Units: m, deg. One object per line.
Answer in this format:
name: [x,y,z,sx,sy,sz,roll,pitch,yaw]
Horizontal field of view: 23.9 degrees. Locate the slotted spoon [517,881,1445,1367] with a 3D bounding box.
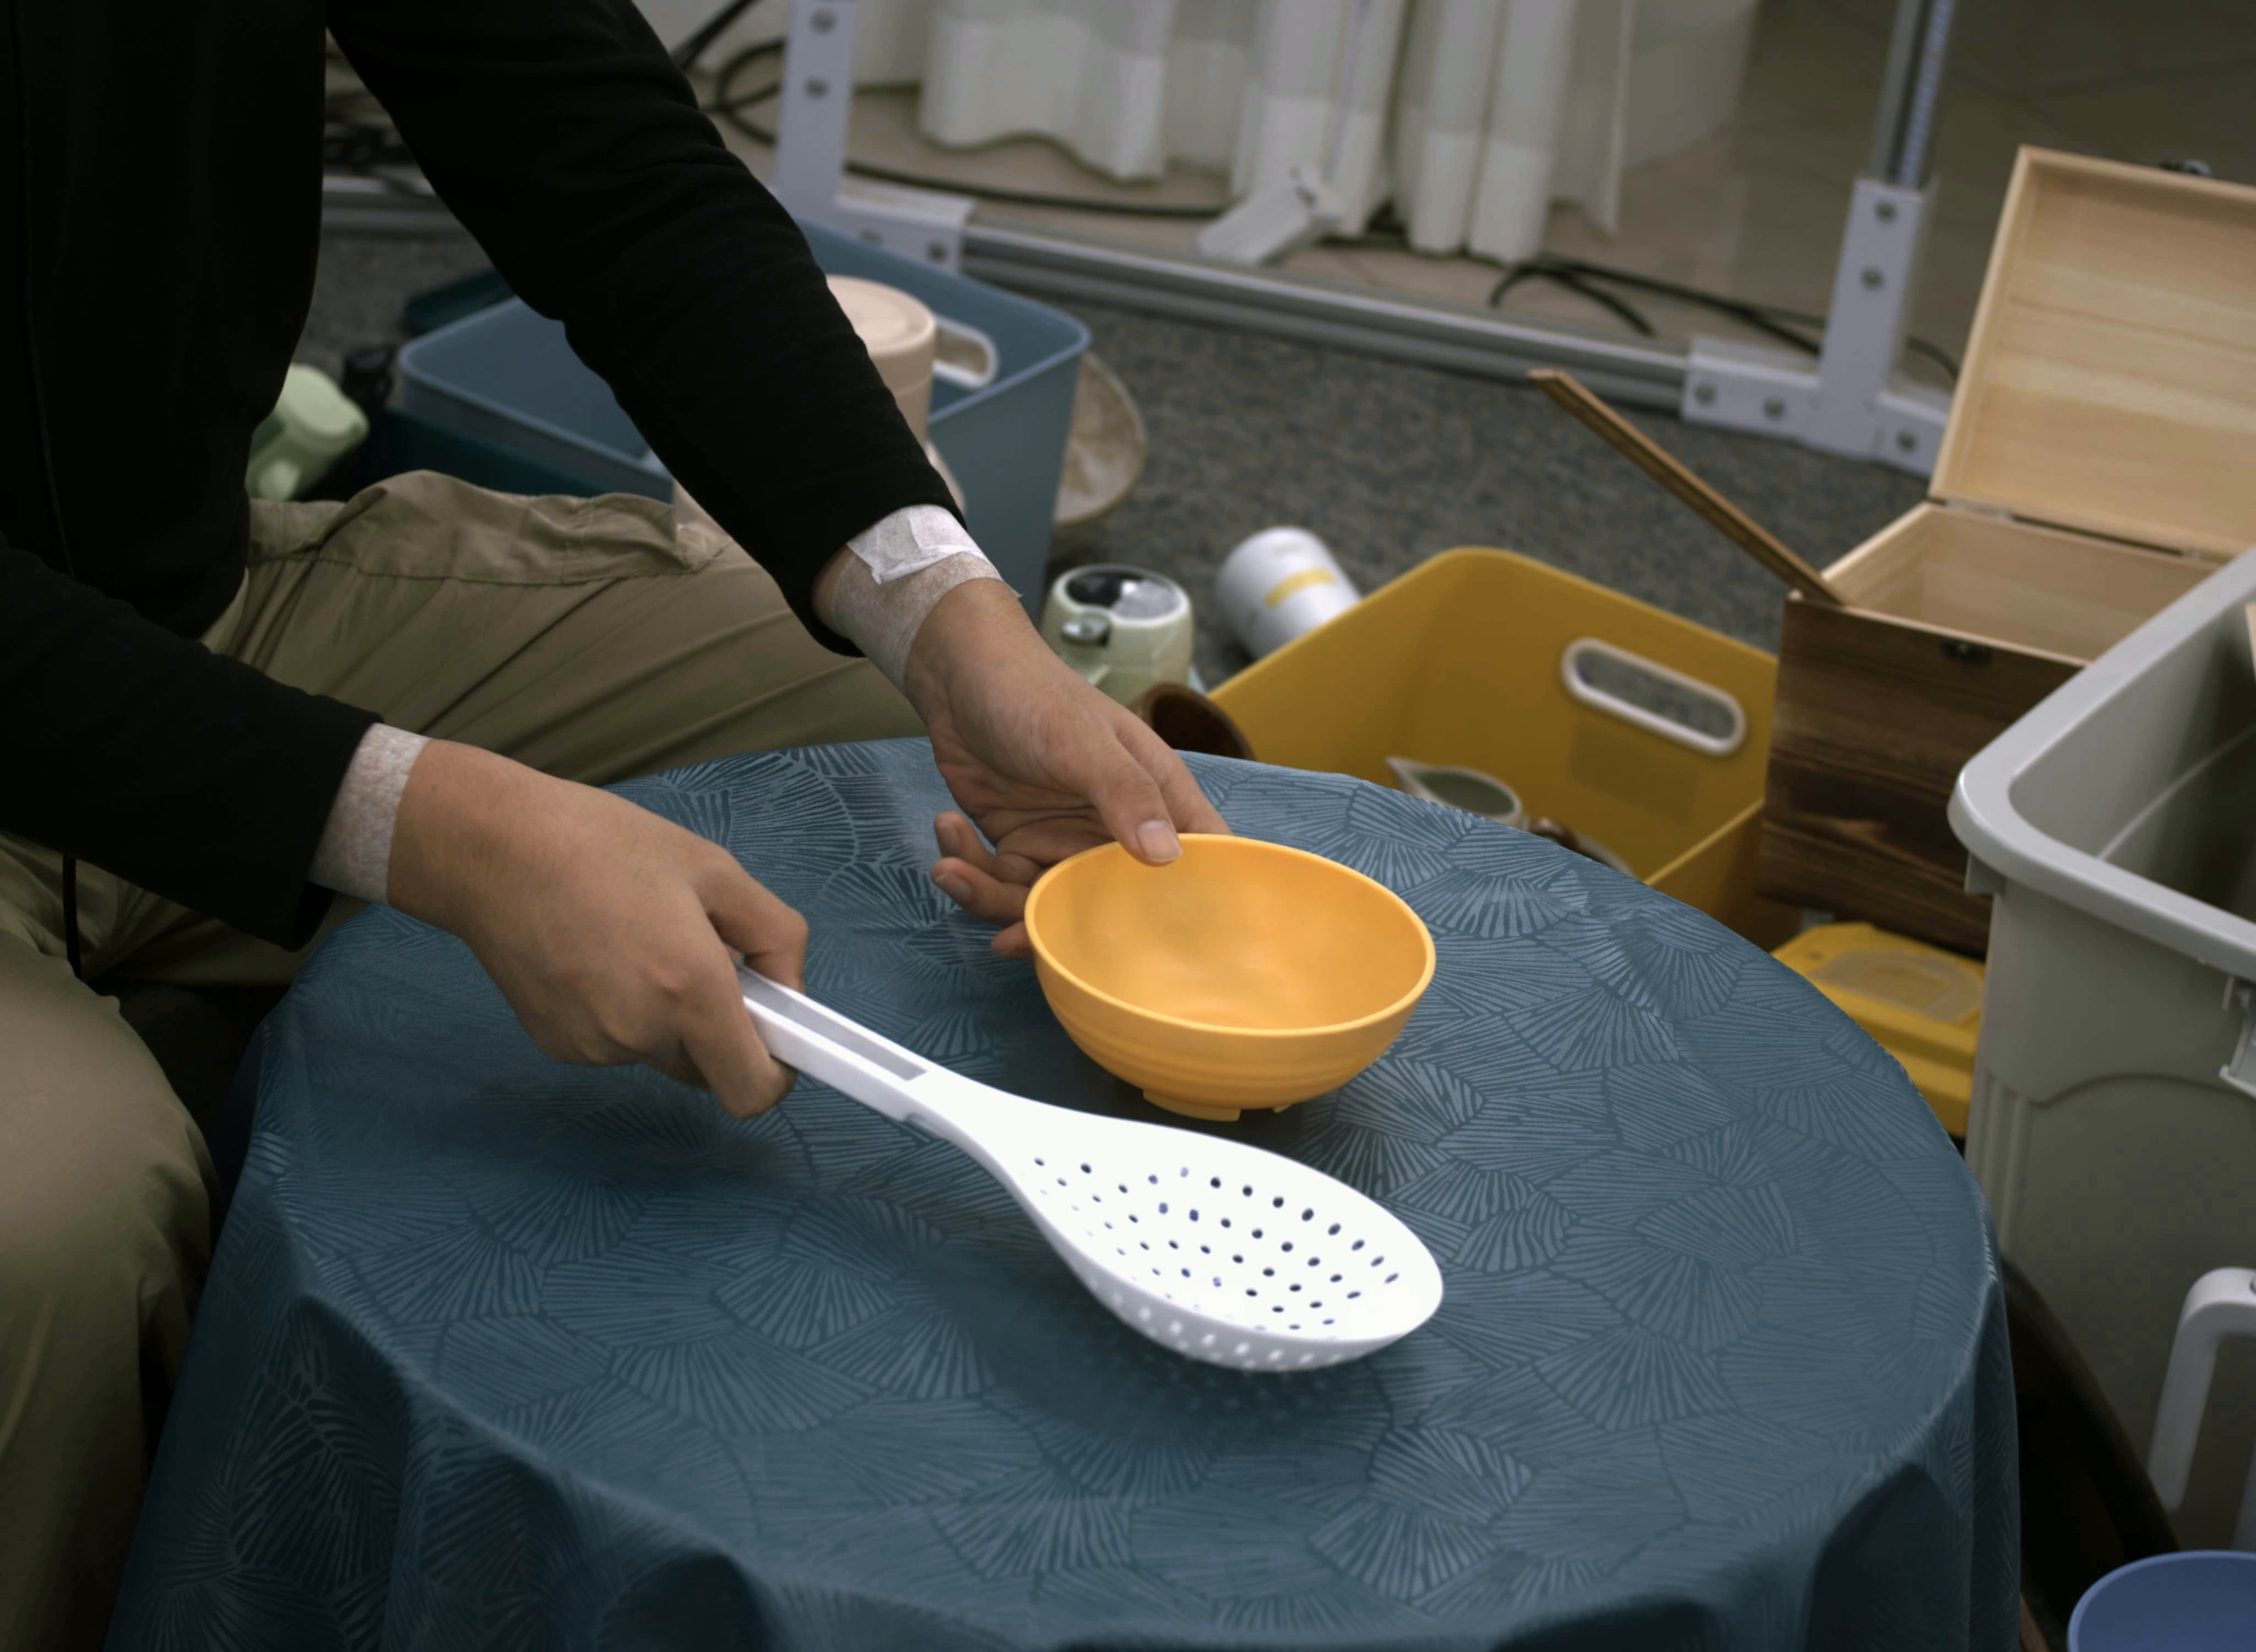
slotted spoon: [-0.056,0.094,1.751,0.351,0.045,0.135,29,22,20]

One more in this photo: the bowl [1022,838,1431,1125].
bowl: [0.031,0.063,1.866,0.145,0.060,0.146,7,26,-4]
